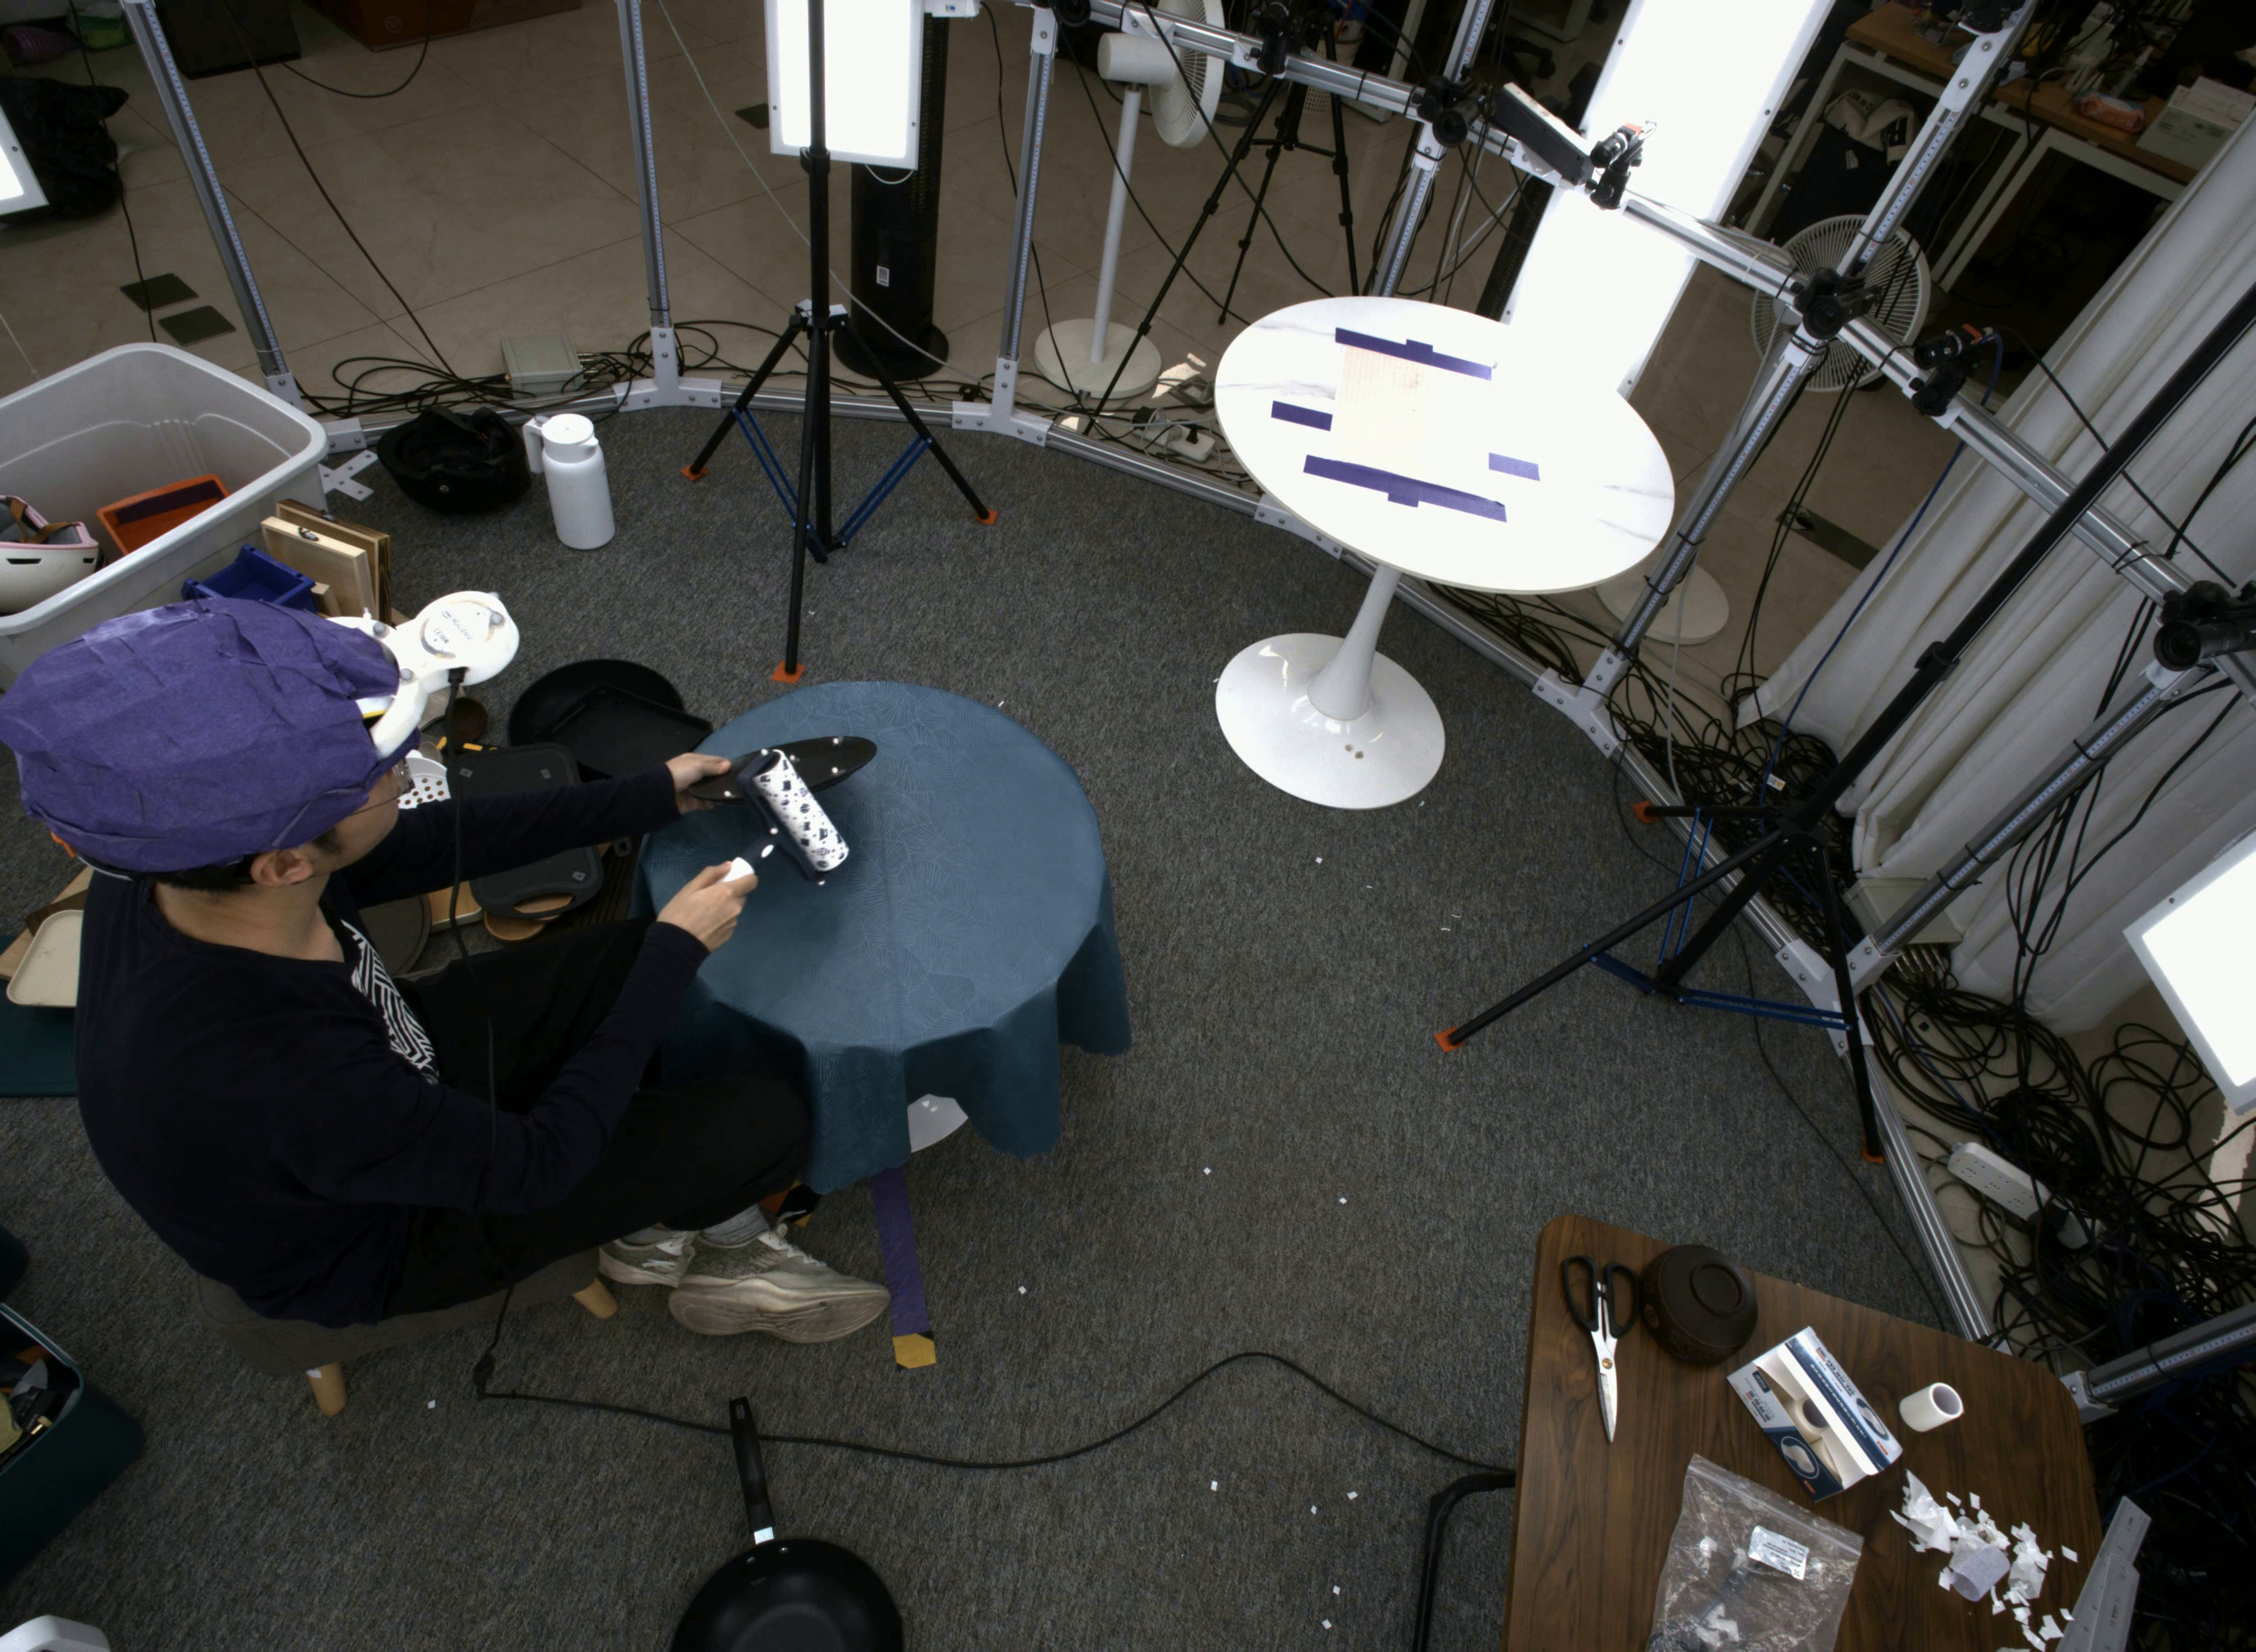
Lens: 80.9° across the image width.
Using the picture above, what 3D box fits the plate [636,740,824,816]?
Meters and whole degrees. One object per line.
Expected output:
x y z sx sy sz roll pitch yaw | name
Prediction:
-0.504 -0.059 1.644 0.241 0.024 0.240 -8 20 5 | plate

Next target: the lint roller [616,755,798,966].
-0.498 0.063 1.480 0.048 0.183 0.246 9 52 34 | lint roller
